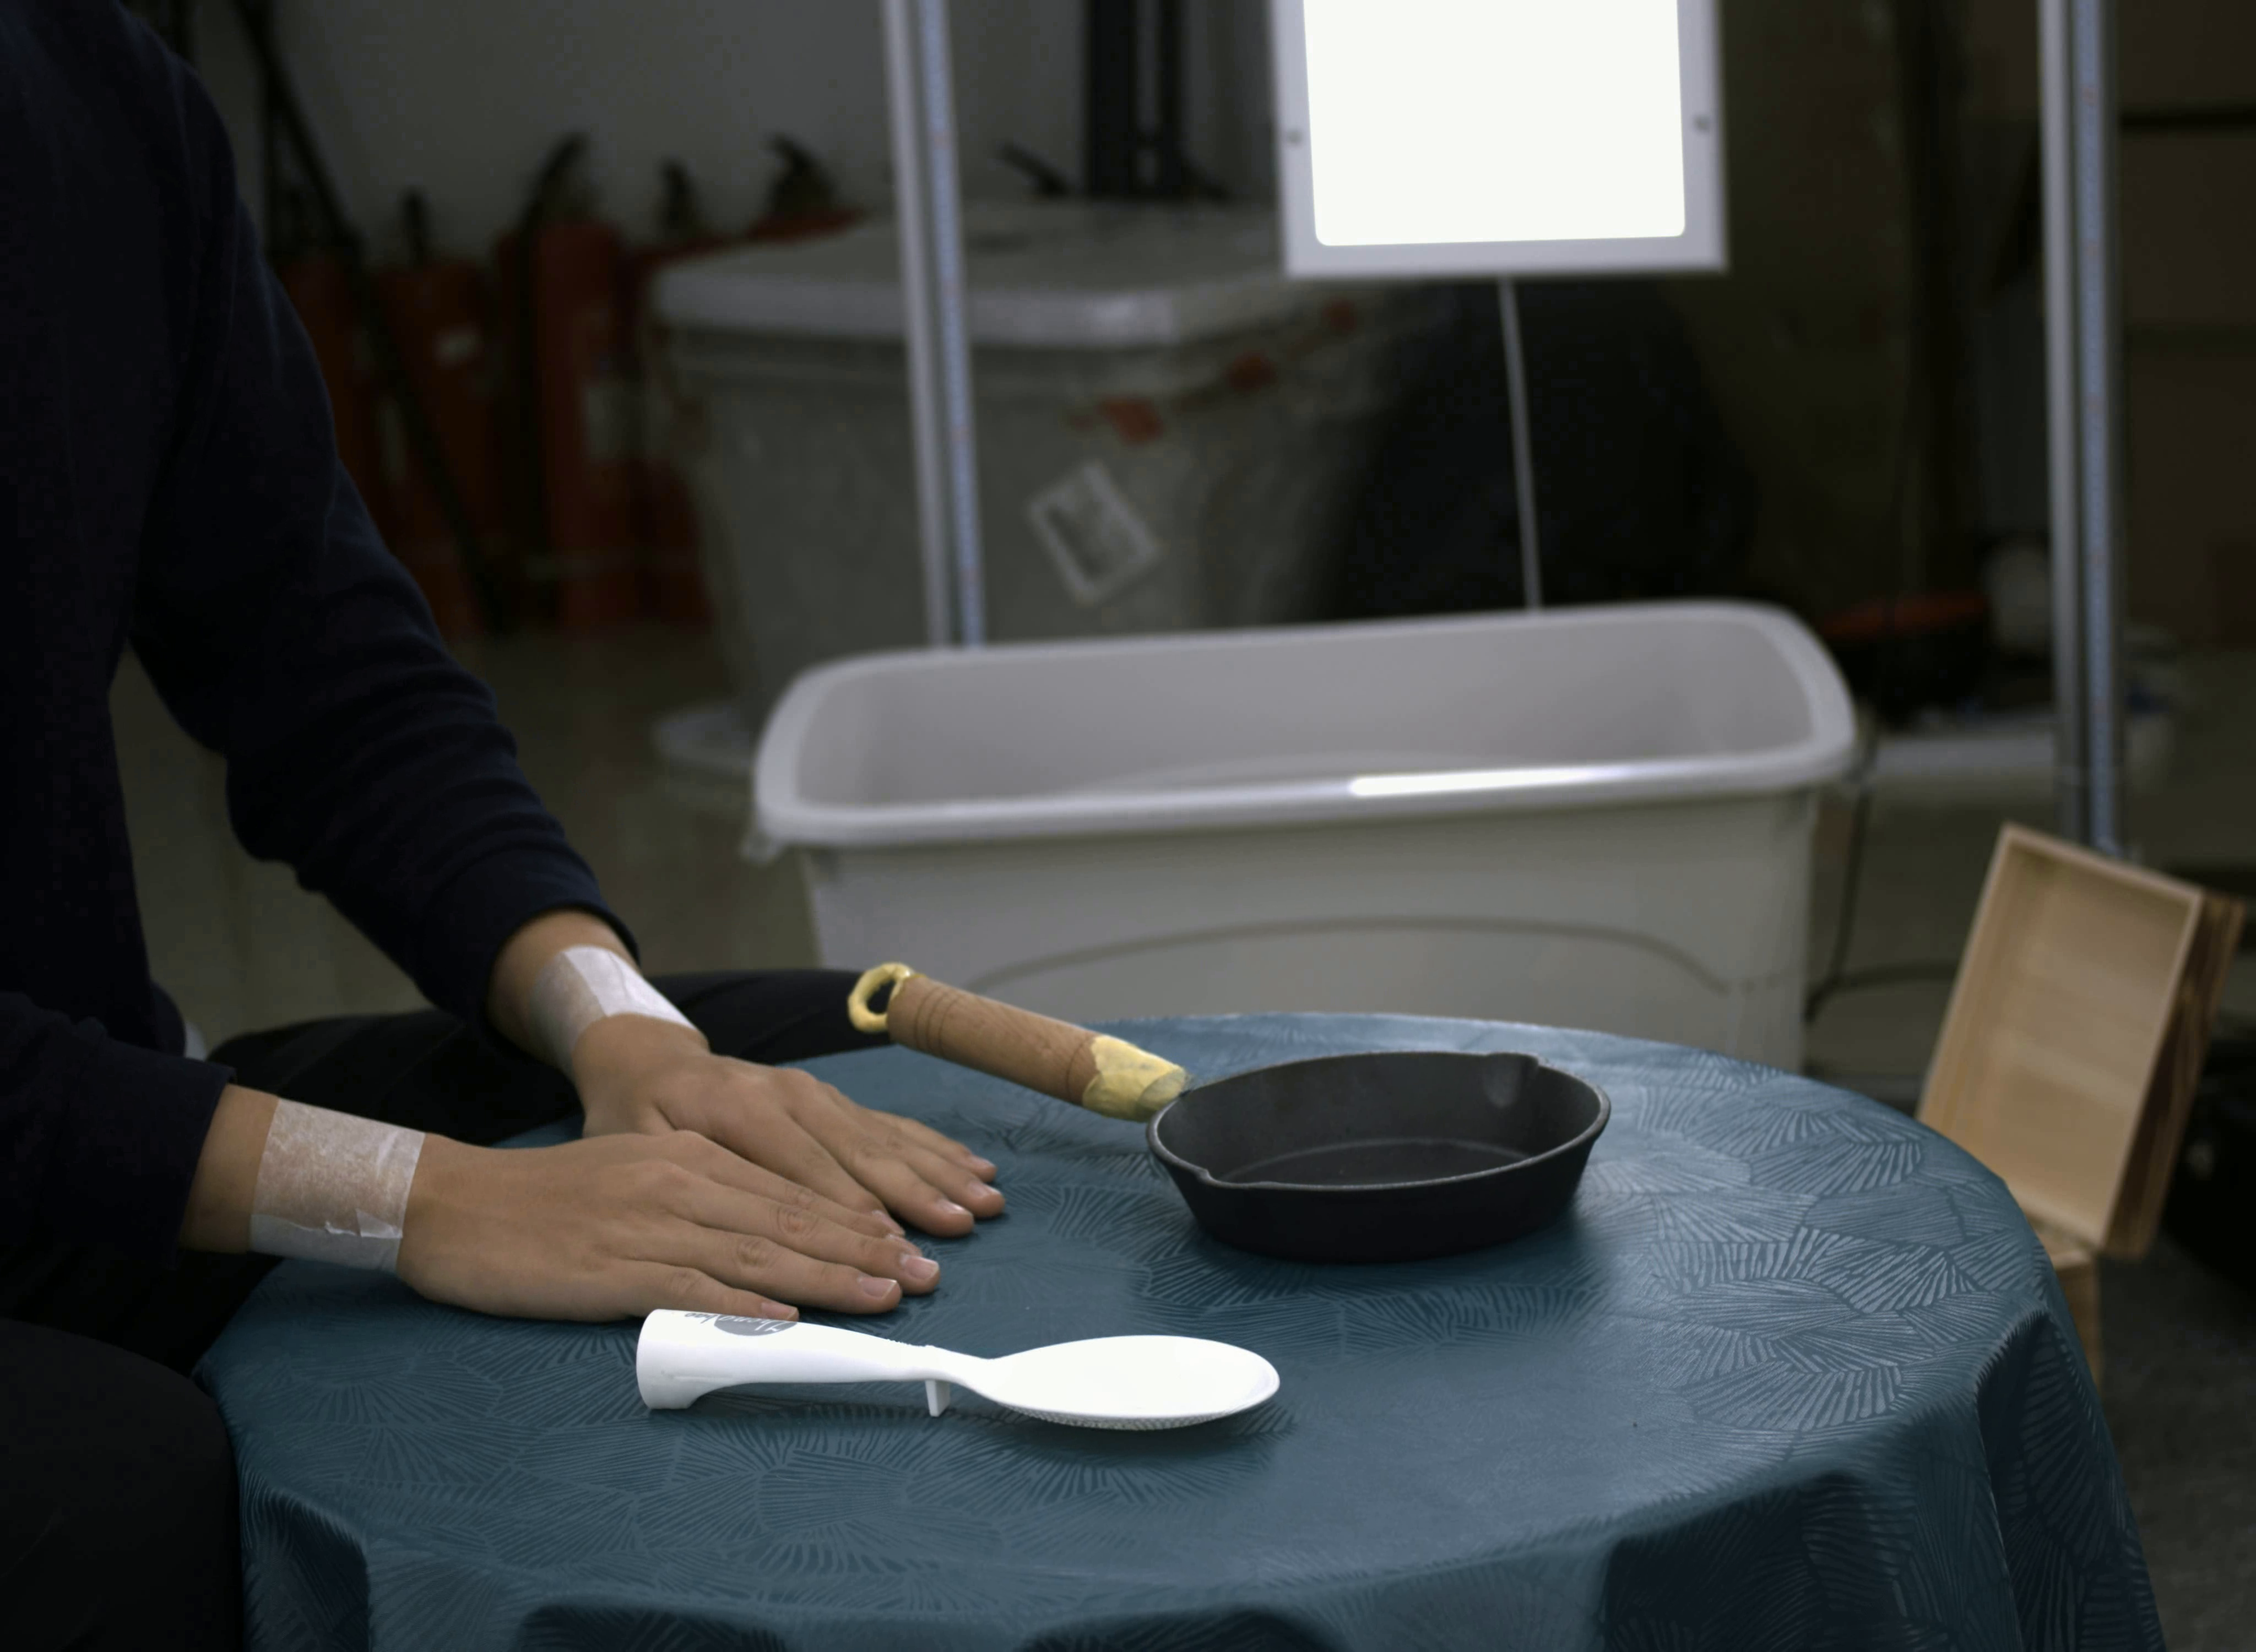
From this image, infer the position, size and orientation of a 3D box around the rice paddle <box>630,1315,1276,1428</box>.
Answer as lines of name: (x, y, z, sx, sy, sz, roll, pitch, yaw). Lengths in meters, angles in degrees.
rice paddle: (-0.053, 0.166, 1.693, 0.208, 0.029, 0.067, -1, 16, 19)

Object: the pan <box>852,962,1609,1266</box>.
pan: (0.023, 0.095, 1.912, 0.331, 0.050, 0.164, 11, 21, 44)
